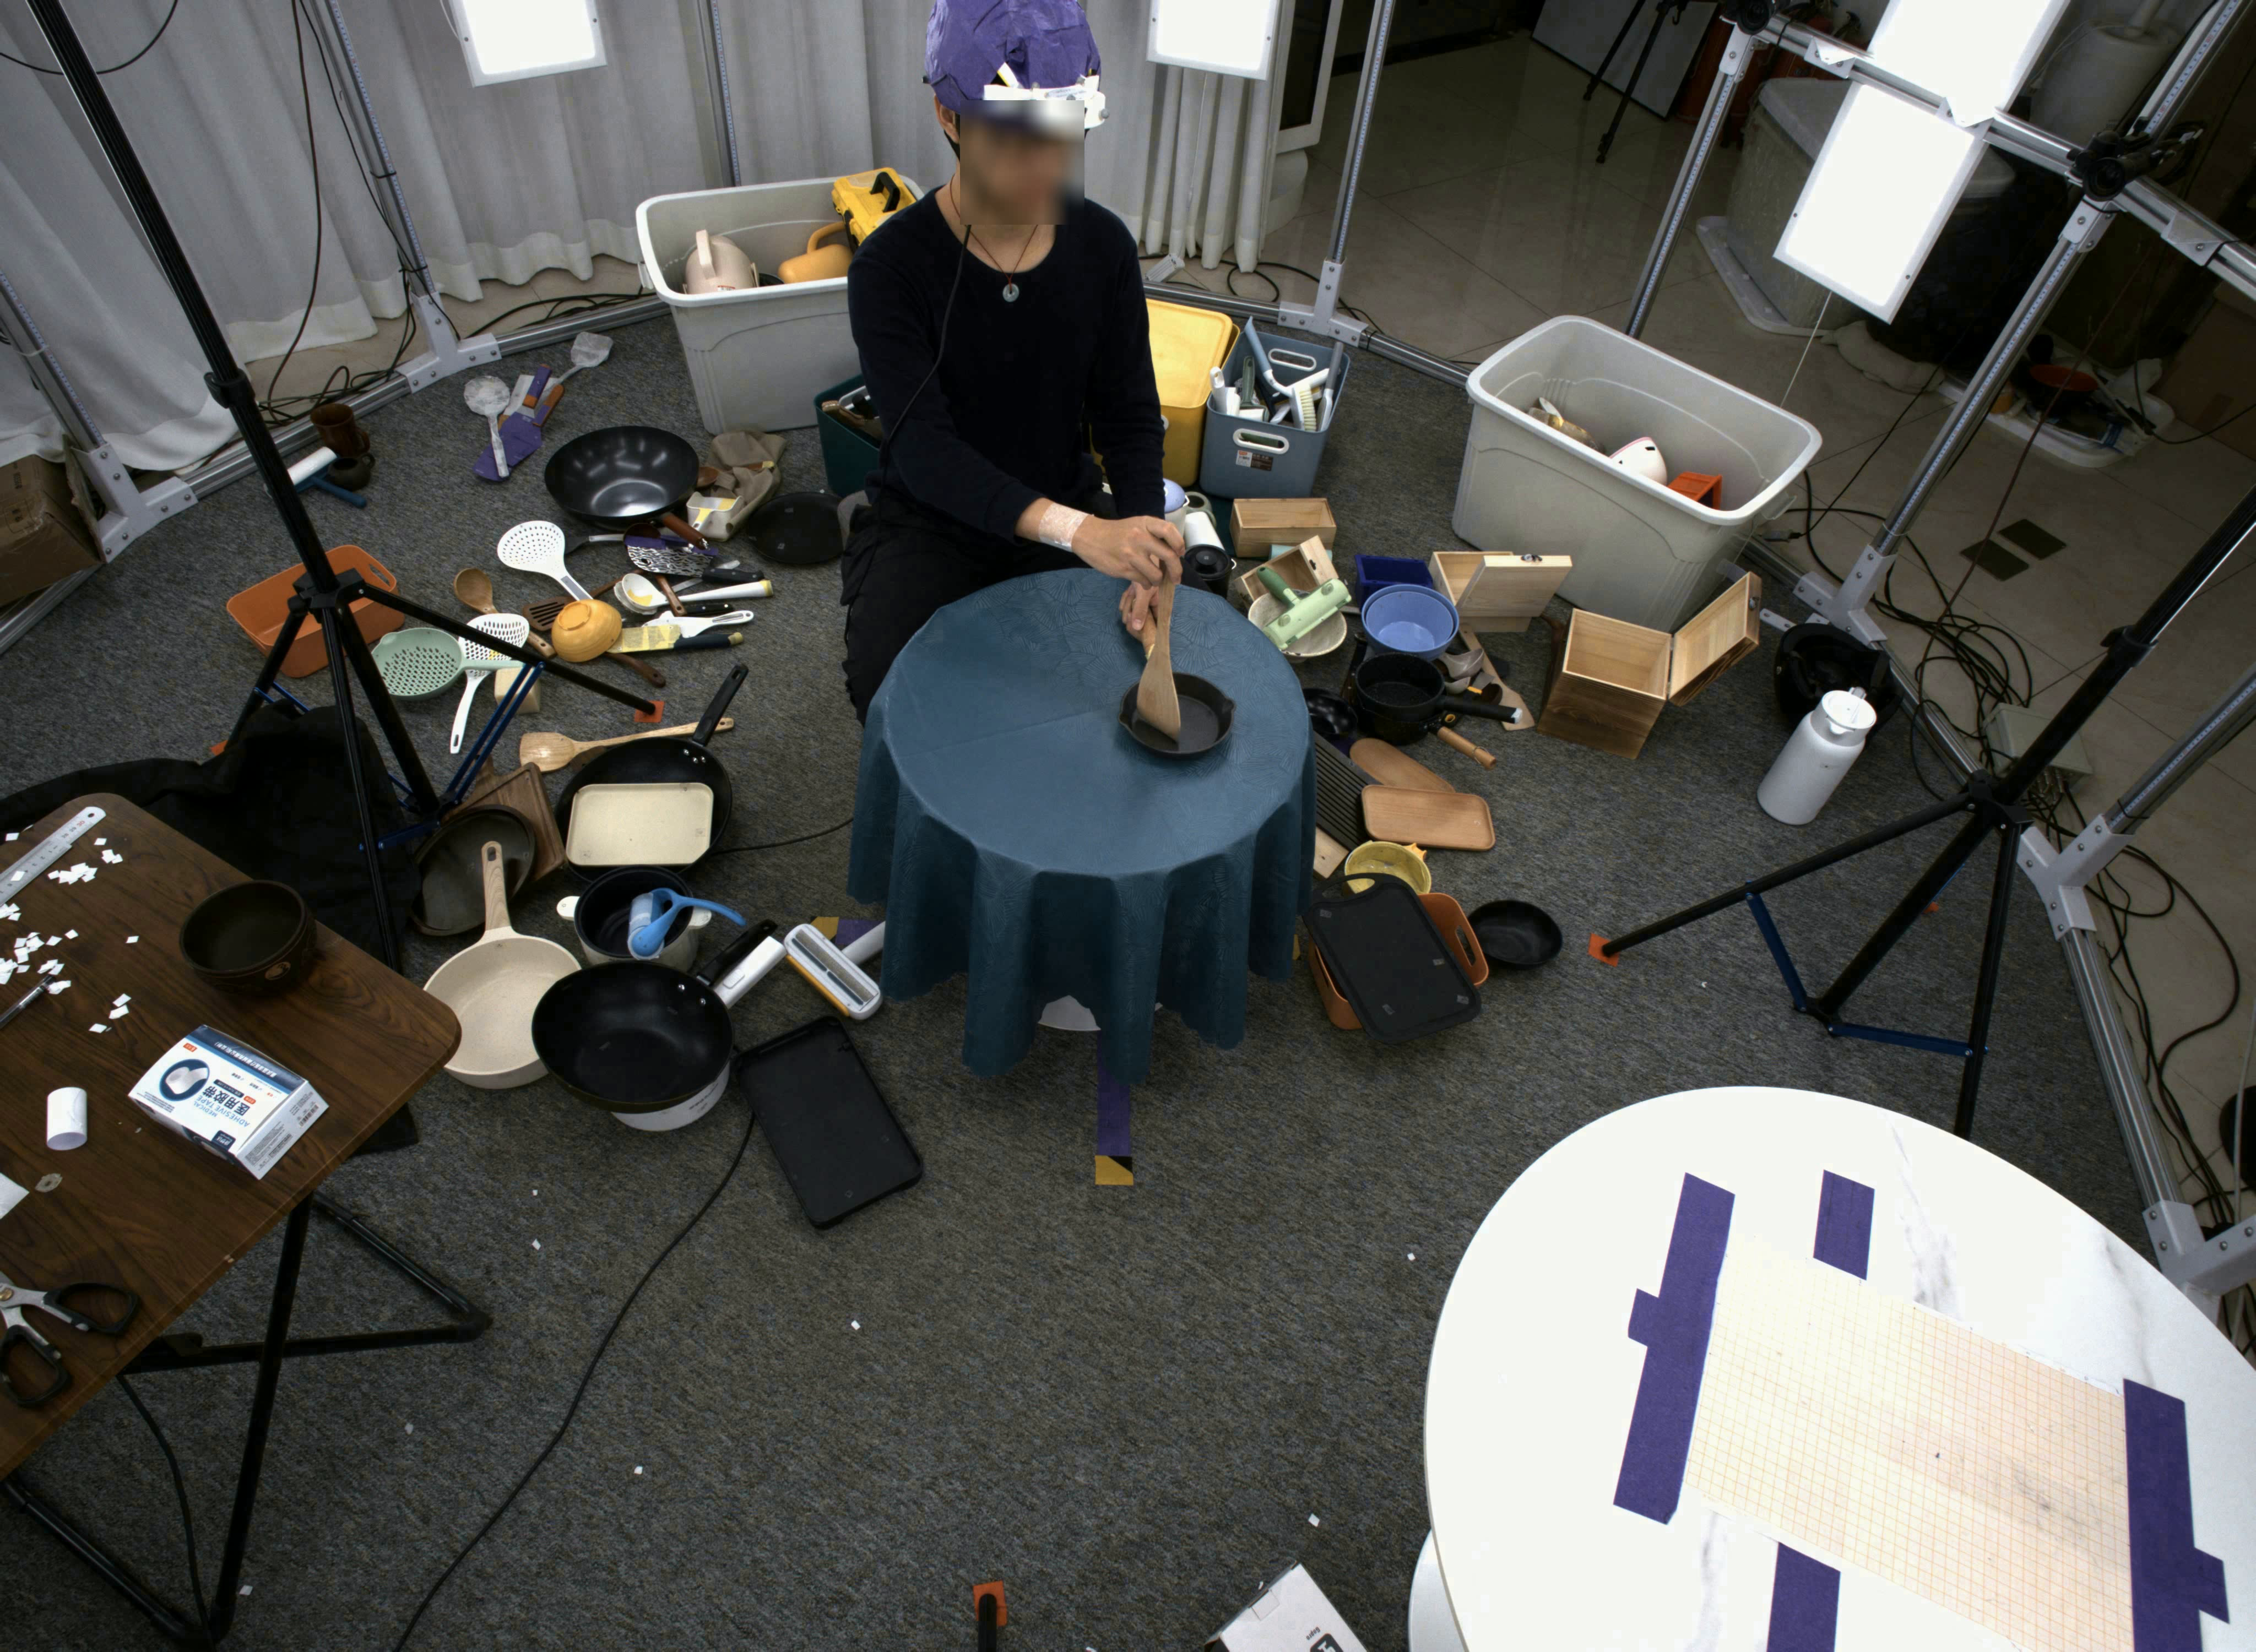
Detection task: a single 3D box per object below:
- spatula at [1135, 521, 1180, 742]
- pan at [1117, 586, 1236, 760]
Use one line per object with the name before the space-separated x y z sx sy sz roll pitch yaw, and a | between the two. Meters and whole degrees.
spatula | 0.046 -0.252 1.684 0.081 0.320 0.017 30 46 29
pan | 0.050 -0.219 1.830 0.169 0.048 0.332 -7 51 -10
